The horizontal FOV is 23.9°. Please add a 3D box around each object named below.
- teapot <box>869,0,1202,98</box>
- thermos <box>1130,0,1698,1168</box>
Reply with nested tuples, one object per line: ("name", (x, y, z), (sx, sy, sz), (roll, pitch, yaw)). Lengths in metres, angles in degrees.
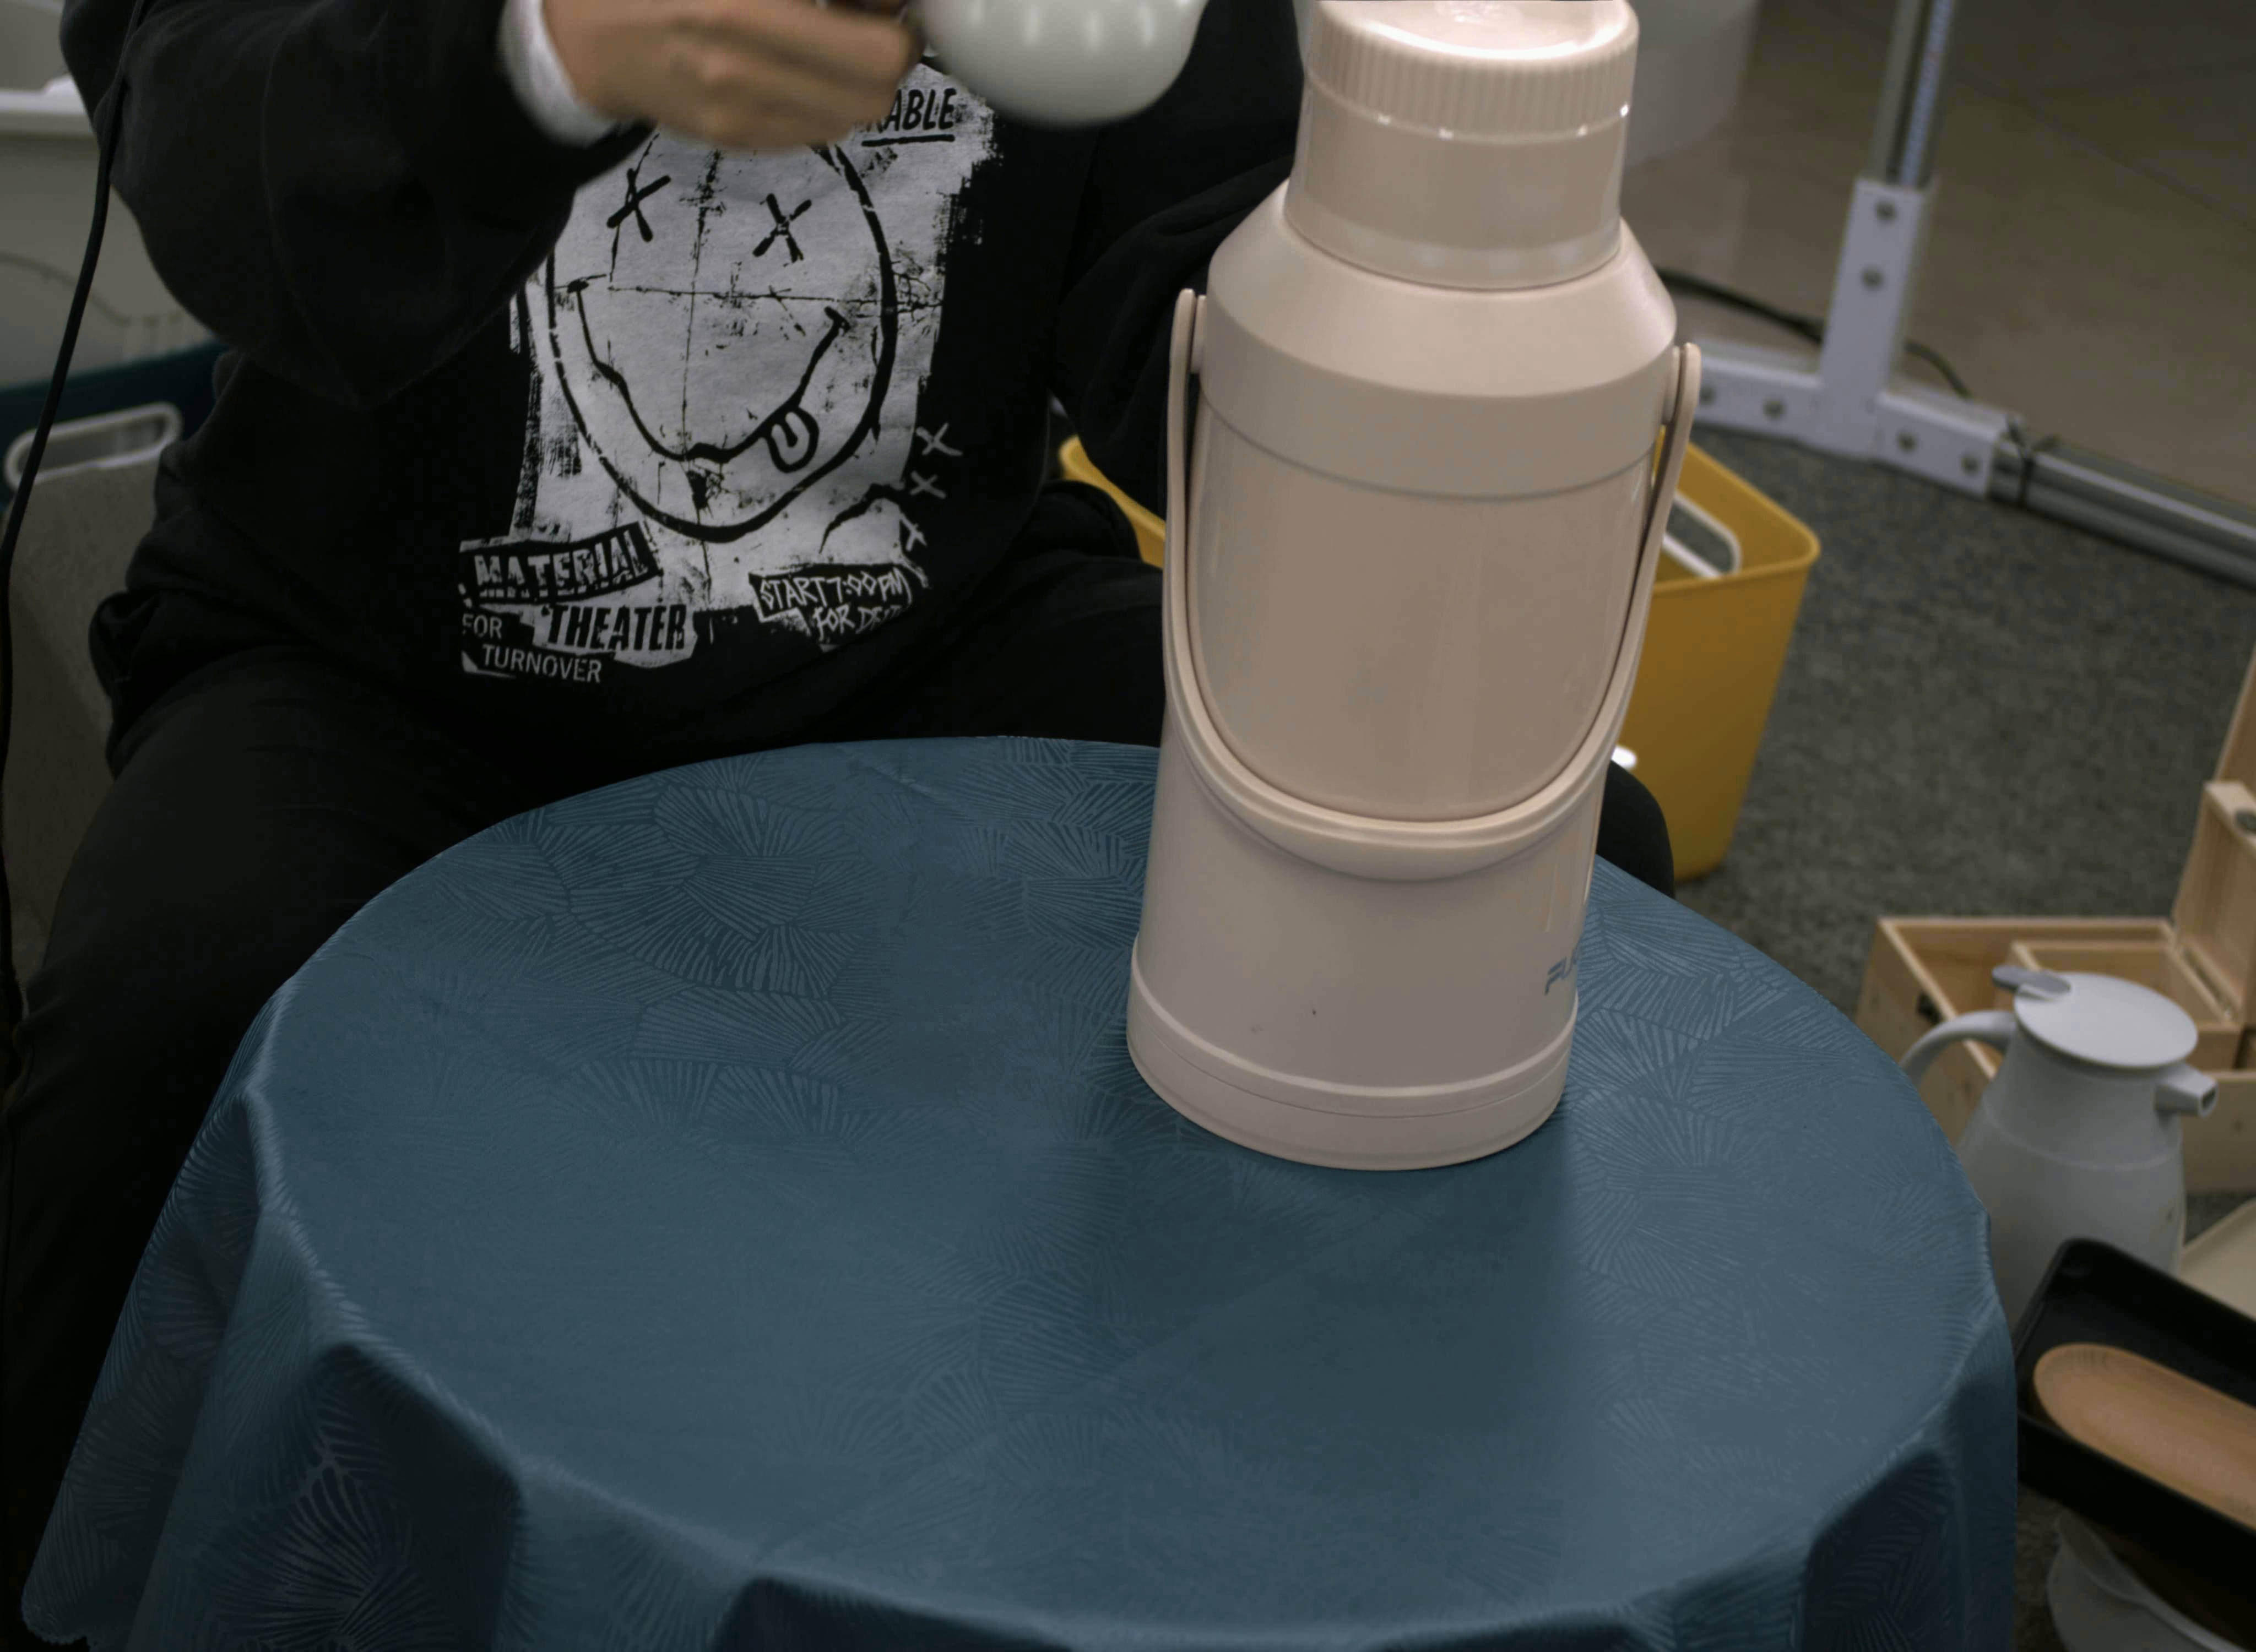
("teapot", (-0.030, -0.269, 1.674), (0.127, 0.059, 0.092), (9, 33, -21))
("thermos", (0.097, -0.099, 1.821), (0.175, 0.405, 0.208), (4, 29, 0))
